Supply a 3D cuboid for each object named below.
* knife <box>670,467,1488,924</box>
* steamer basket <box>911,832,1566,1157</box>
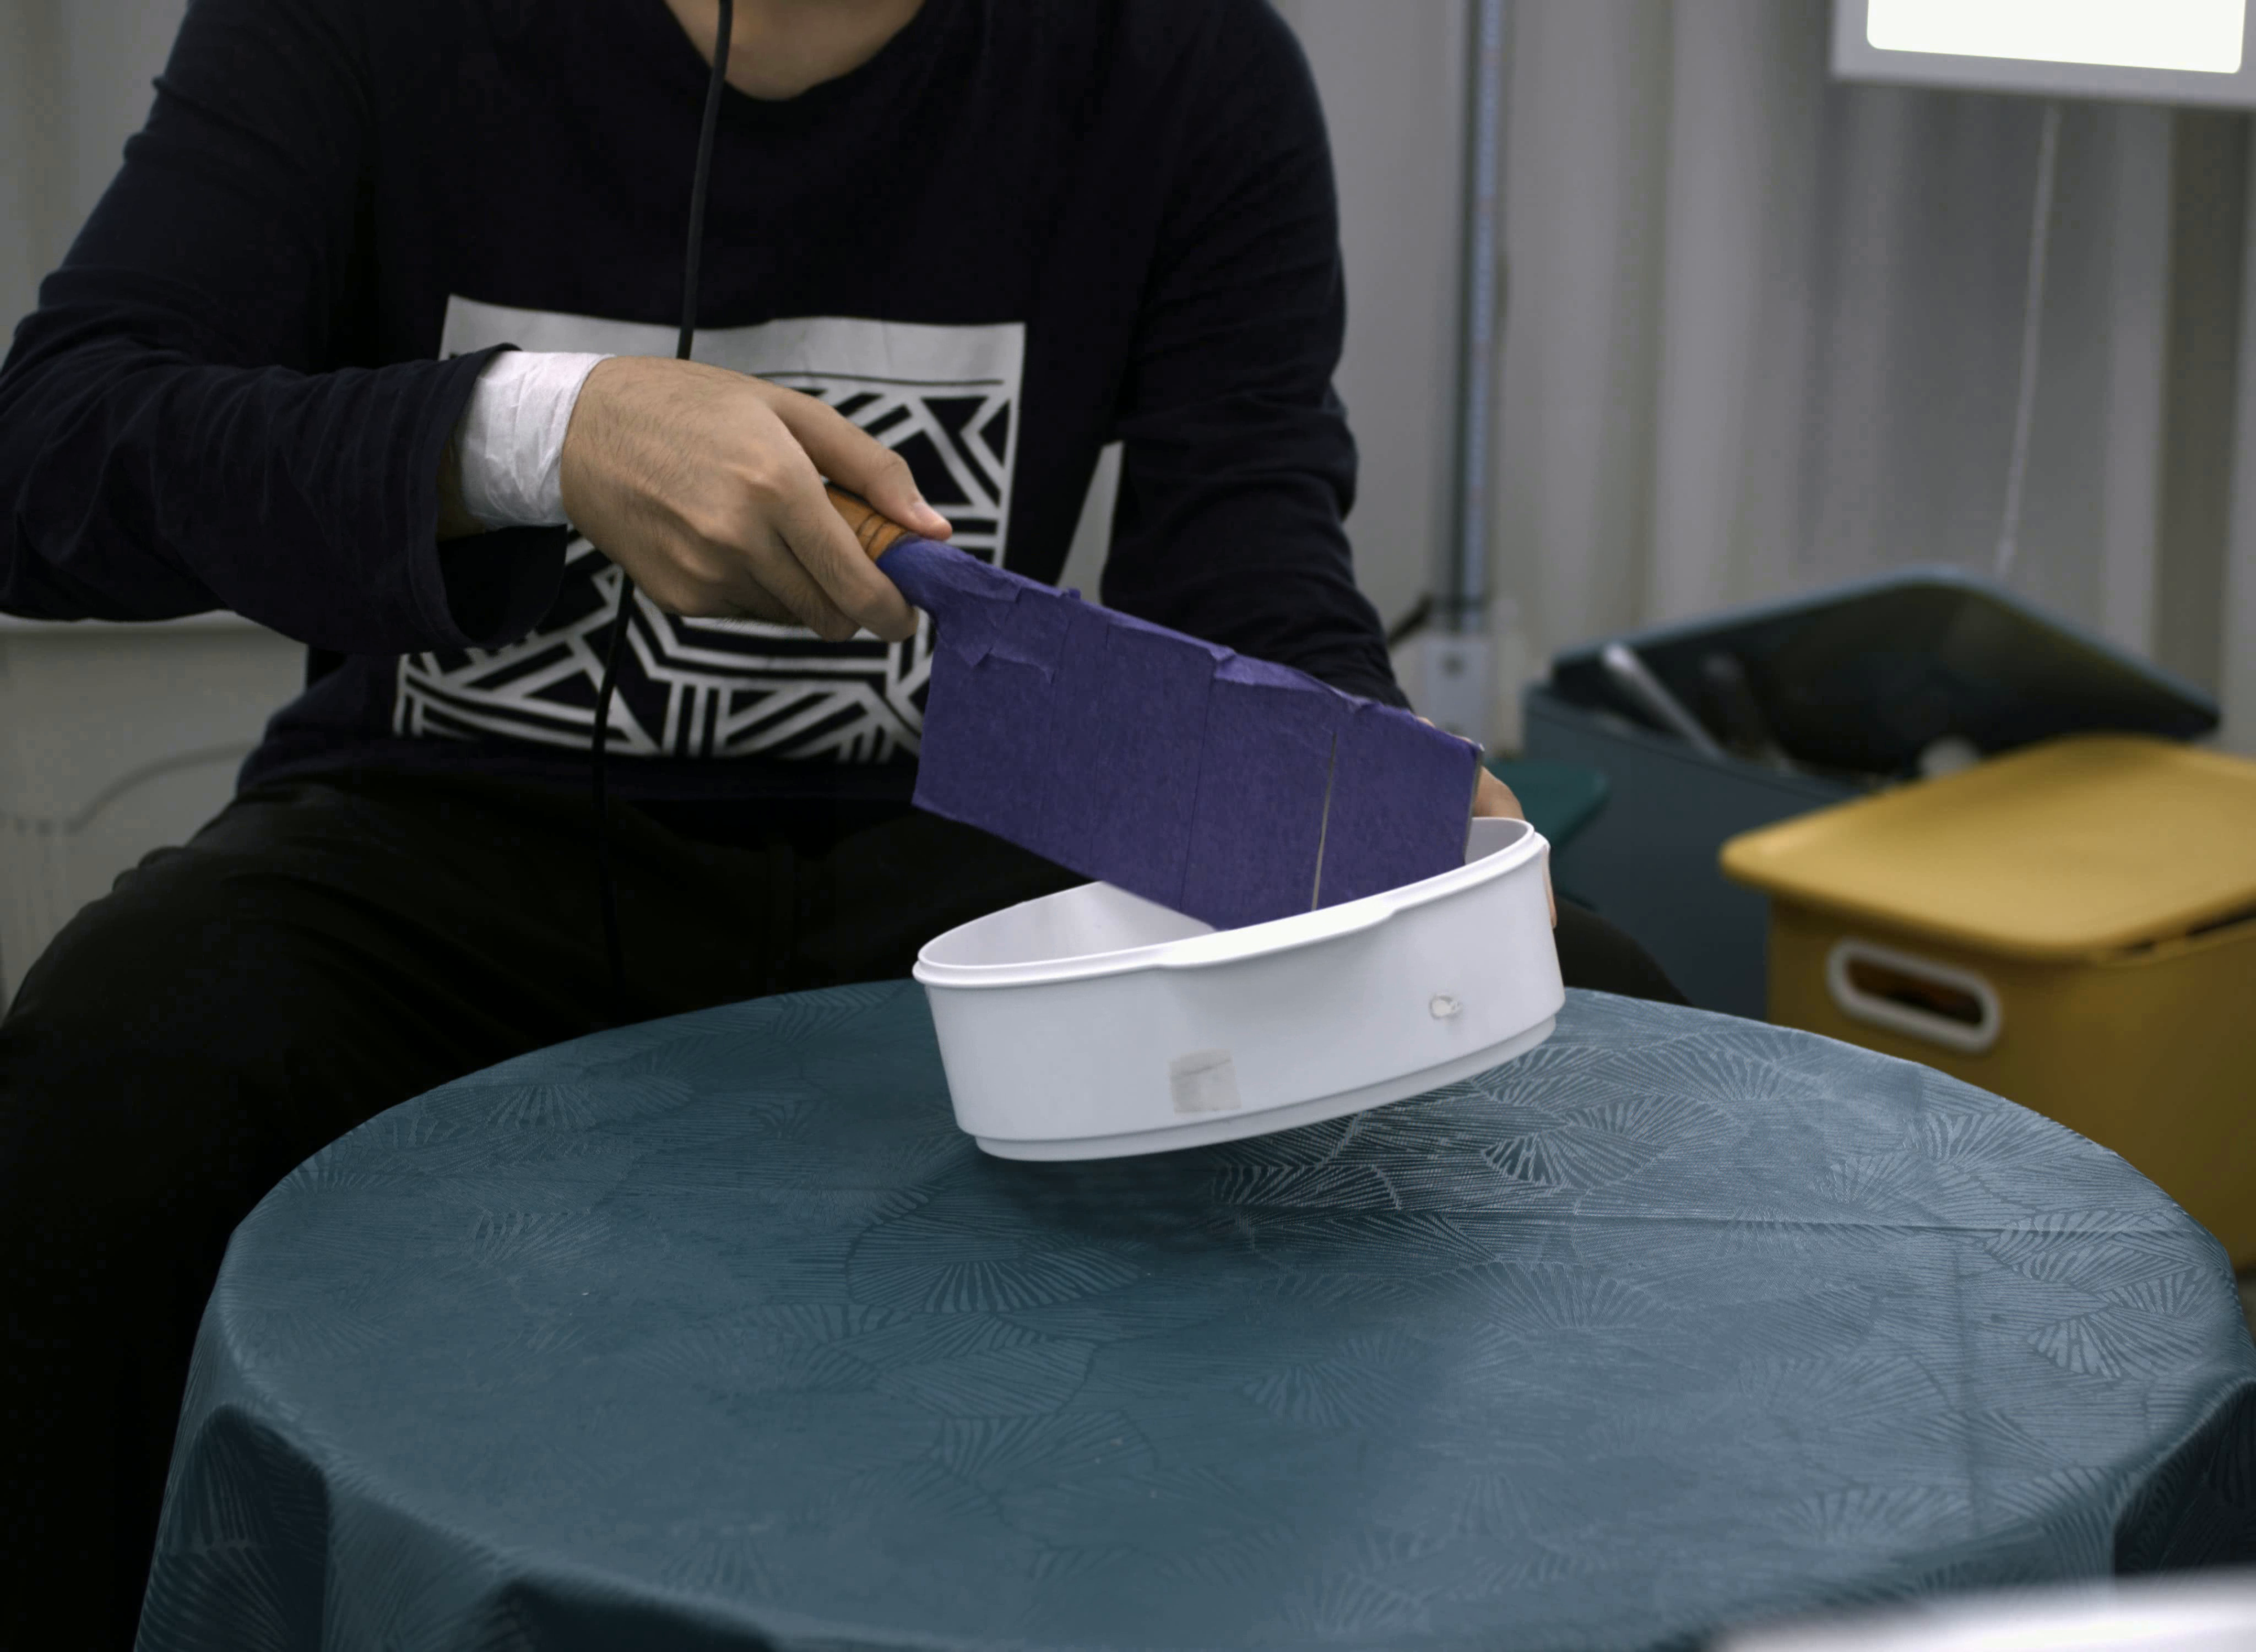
[{"bbox_3d":[-0.024,-0.032,1.690,0.311,0.104,0.032,21,22,30],"label":"knife"},{"bbox_3d":[0.037,0.053,1.631,0.201,0.069,0.230,-11,4,-6],"label":"steamer basket"}]
